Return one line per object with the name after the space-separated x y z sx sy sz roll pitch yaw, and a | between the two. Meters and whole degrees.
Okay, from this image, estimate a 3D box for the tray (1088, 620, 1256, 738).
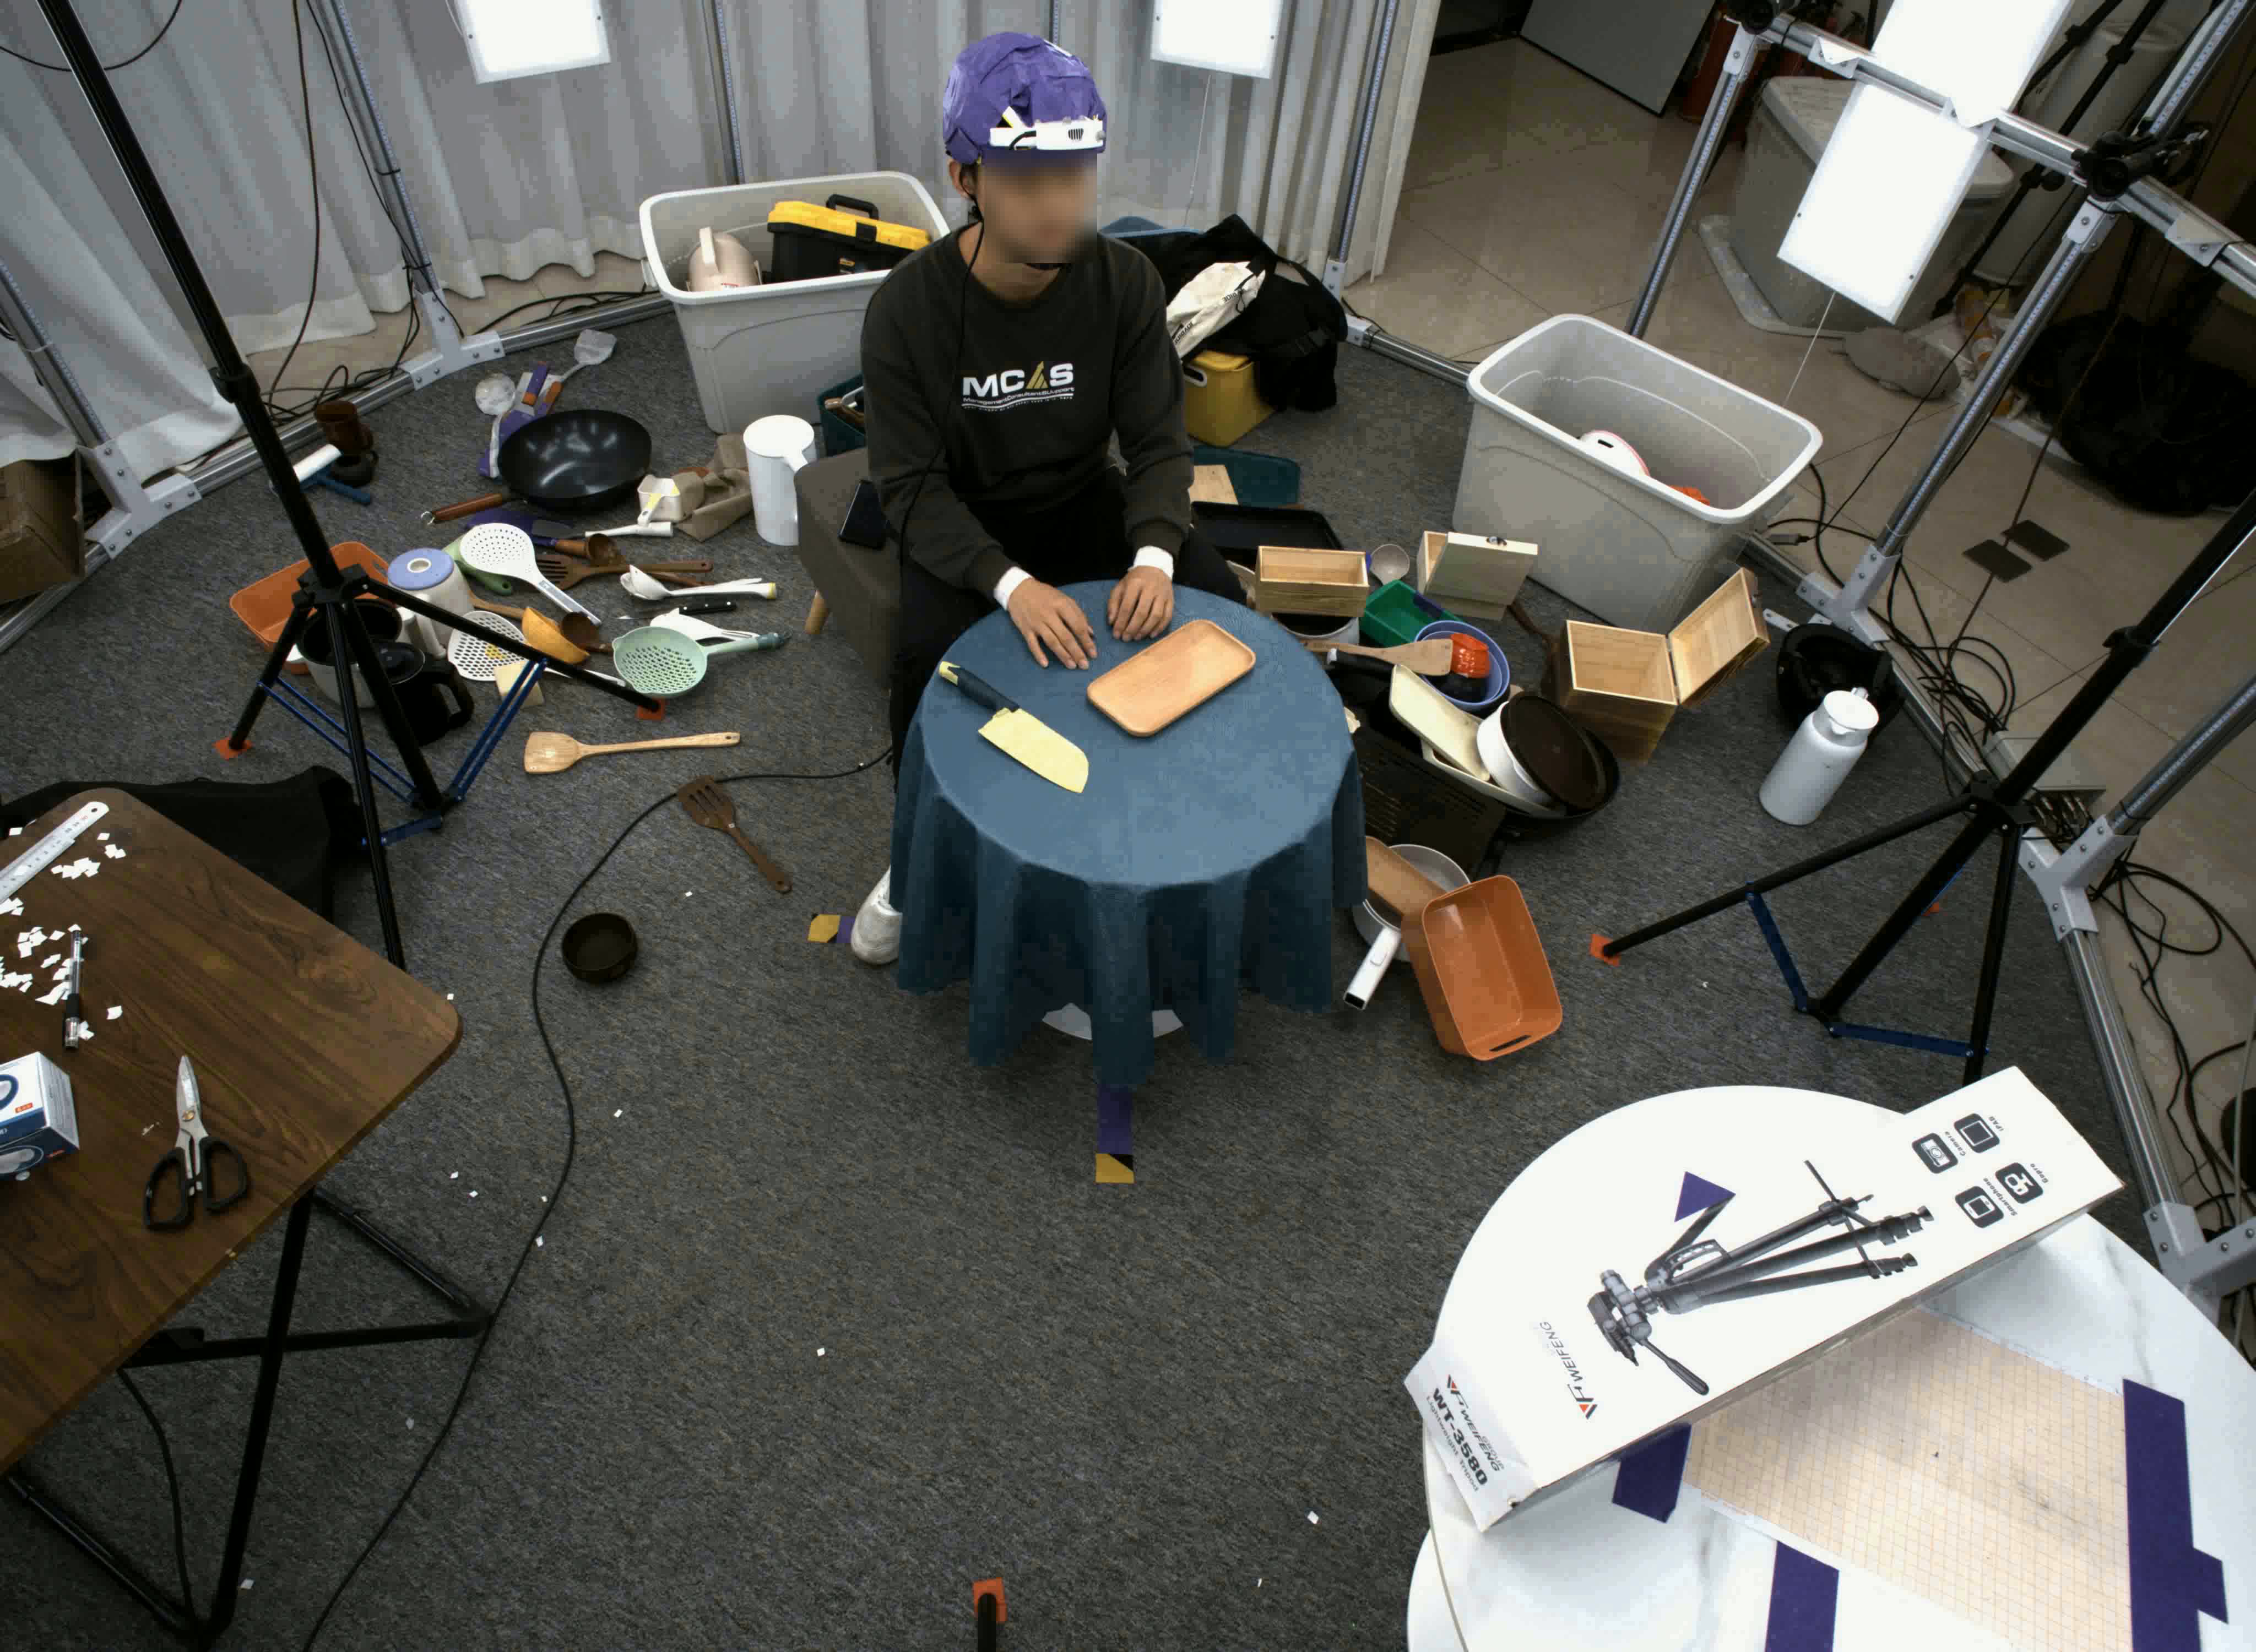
0.065 -0.214 1.847 0.253 0.022 0.132 -35 57 -28 | tray

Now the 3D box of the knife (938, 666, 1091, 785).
-0.163 -0.137 1.766 0.293 0.026 0.082 36 55 23 | knife
